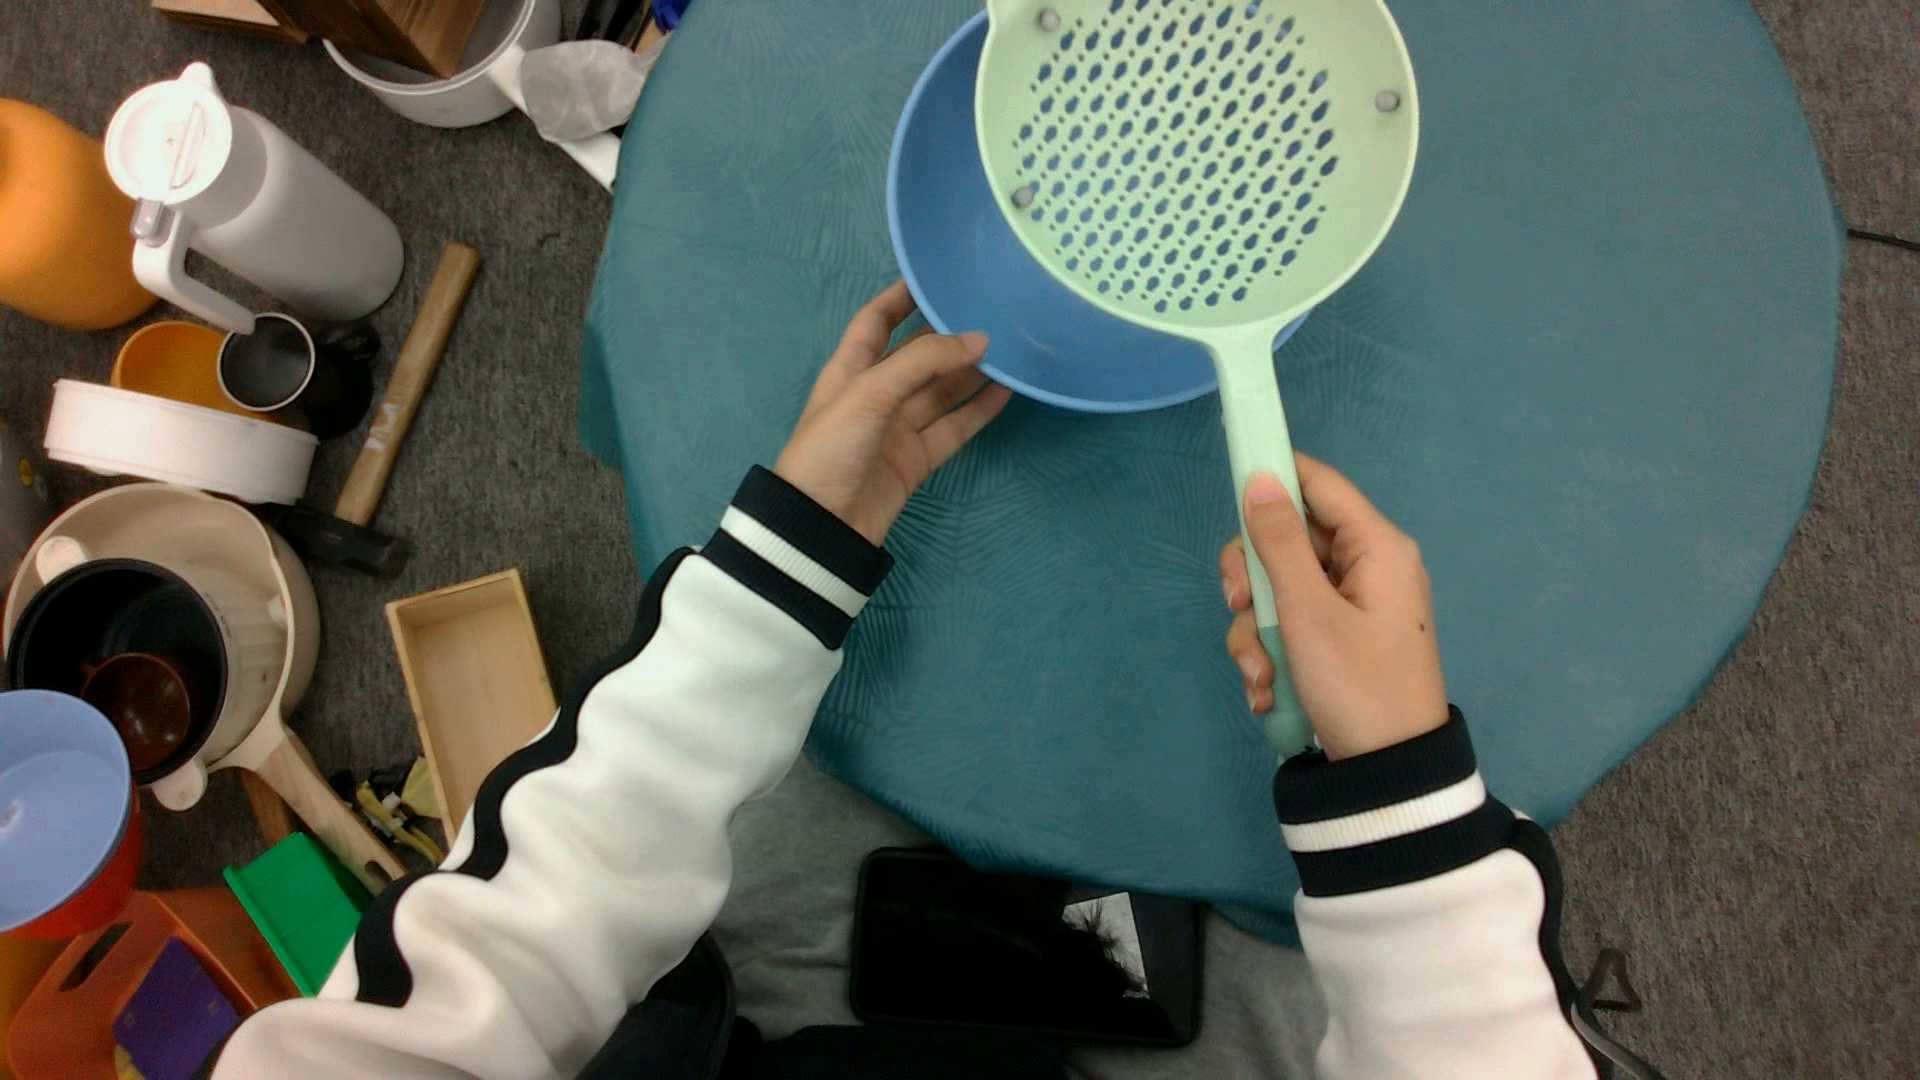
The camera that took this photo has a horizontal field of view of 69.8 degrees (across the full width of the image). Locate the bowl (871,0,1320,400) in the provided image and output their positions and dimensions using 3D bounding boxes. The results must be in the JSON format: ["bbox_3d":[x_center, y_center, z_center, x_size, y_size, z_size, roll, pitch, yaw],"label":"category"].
[{"bbox_3d":[0.061,-0.150,0.632,0.196,0.095,0.196,0,82,1],"label":"bowl"}]

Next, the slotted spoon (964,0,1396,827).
[{"bbox_3d":[0.100,-0.071,0.528,0.169,0.075,0.359,-9,79,-7],"label":"slotted spoon"}]
